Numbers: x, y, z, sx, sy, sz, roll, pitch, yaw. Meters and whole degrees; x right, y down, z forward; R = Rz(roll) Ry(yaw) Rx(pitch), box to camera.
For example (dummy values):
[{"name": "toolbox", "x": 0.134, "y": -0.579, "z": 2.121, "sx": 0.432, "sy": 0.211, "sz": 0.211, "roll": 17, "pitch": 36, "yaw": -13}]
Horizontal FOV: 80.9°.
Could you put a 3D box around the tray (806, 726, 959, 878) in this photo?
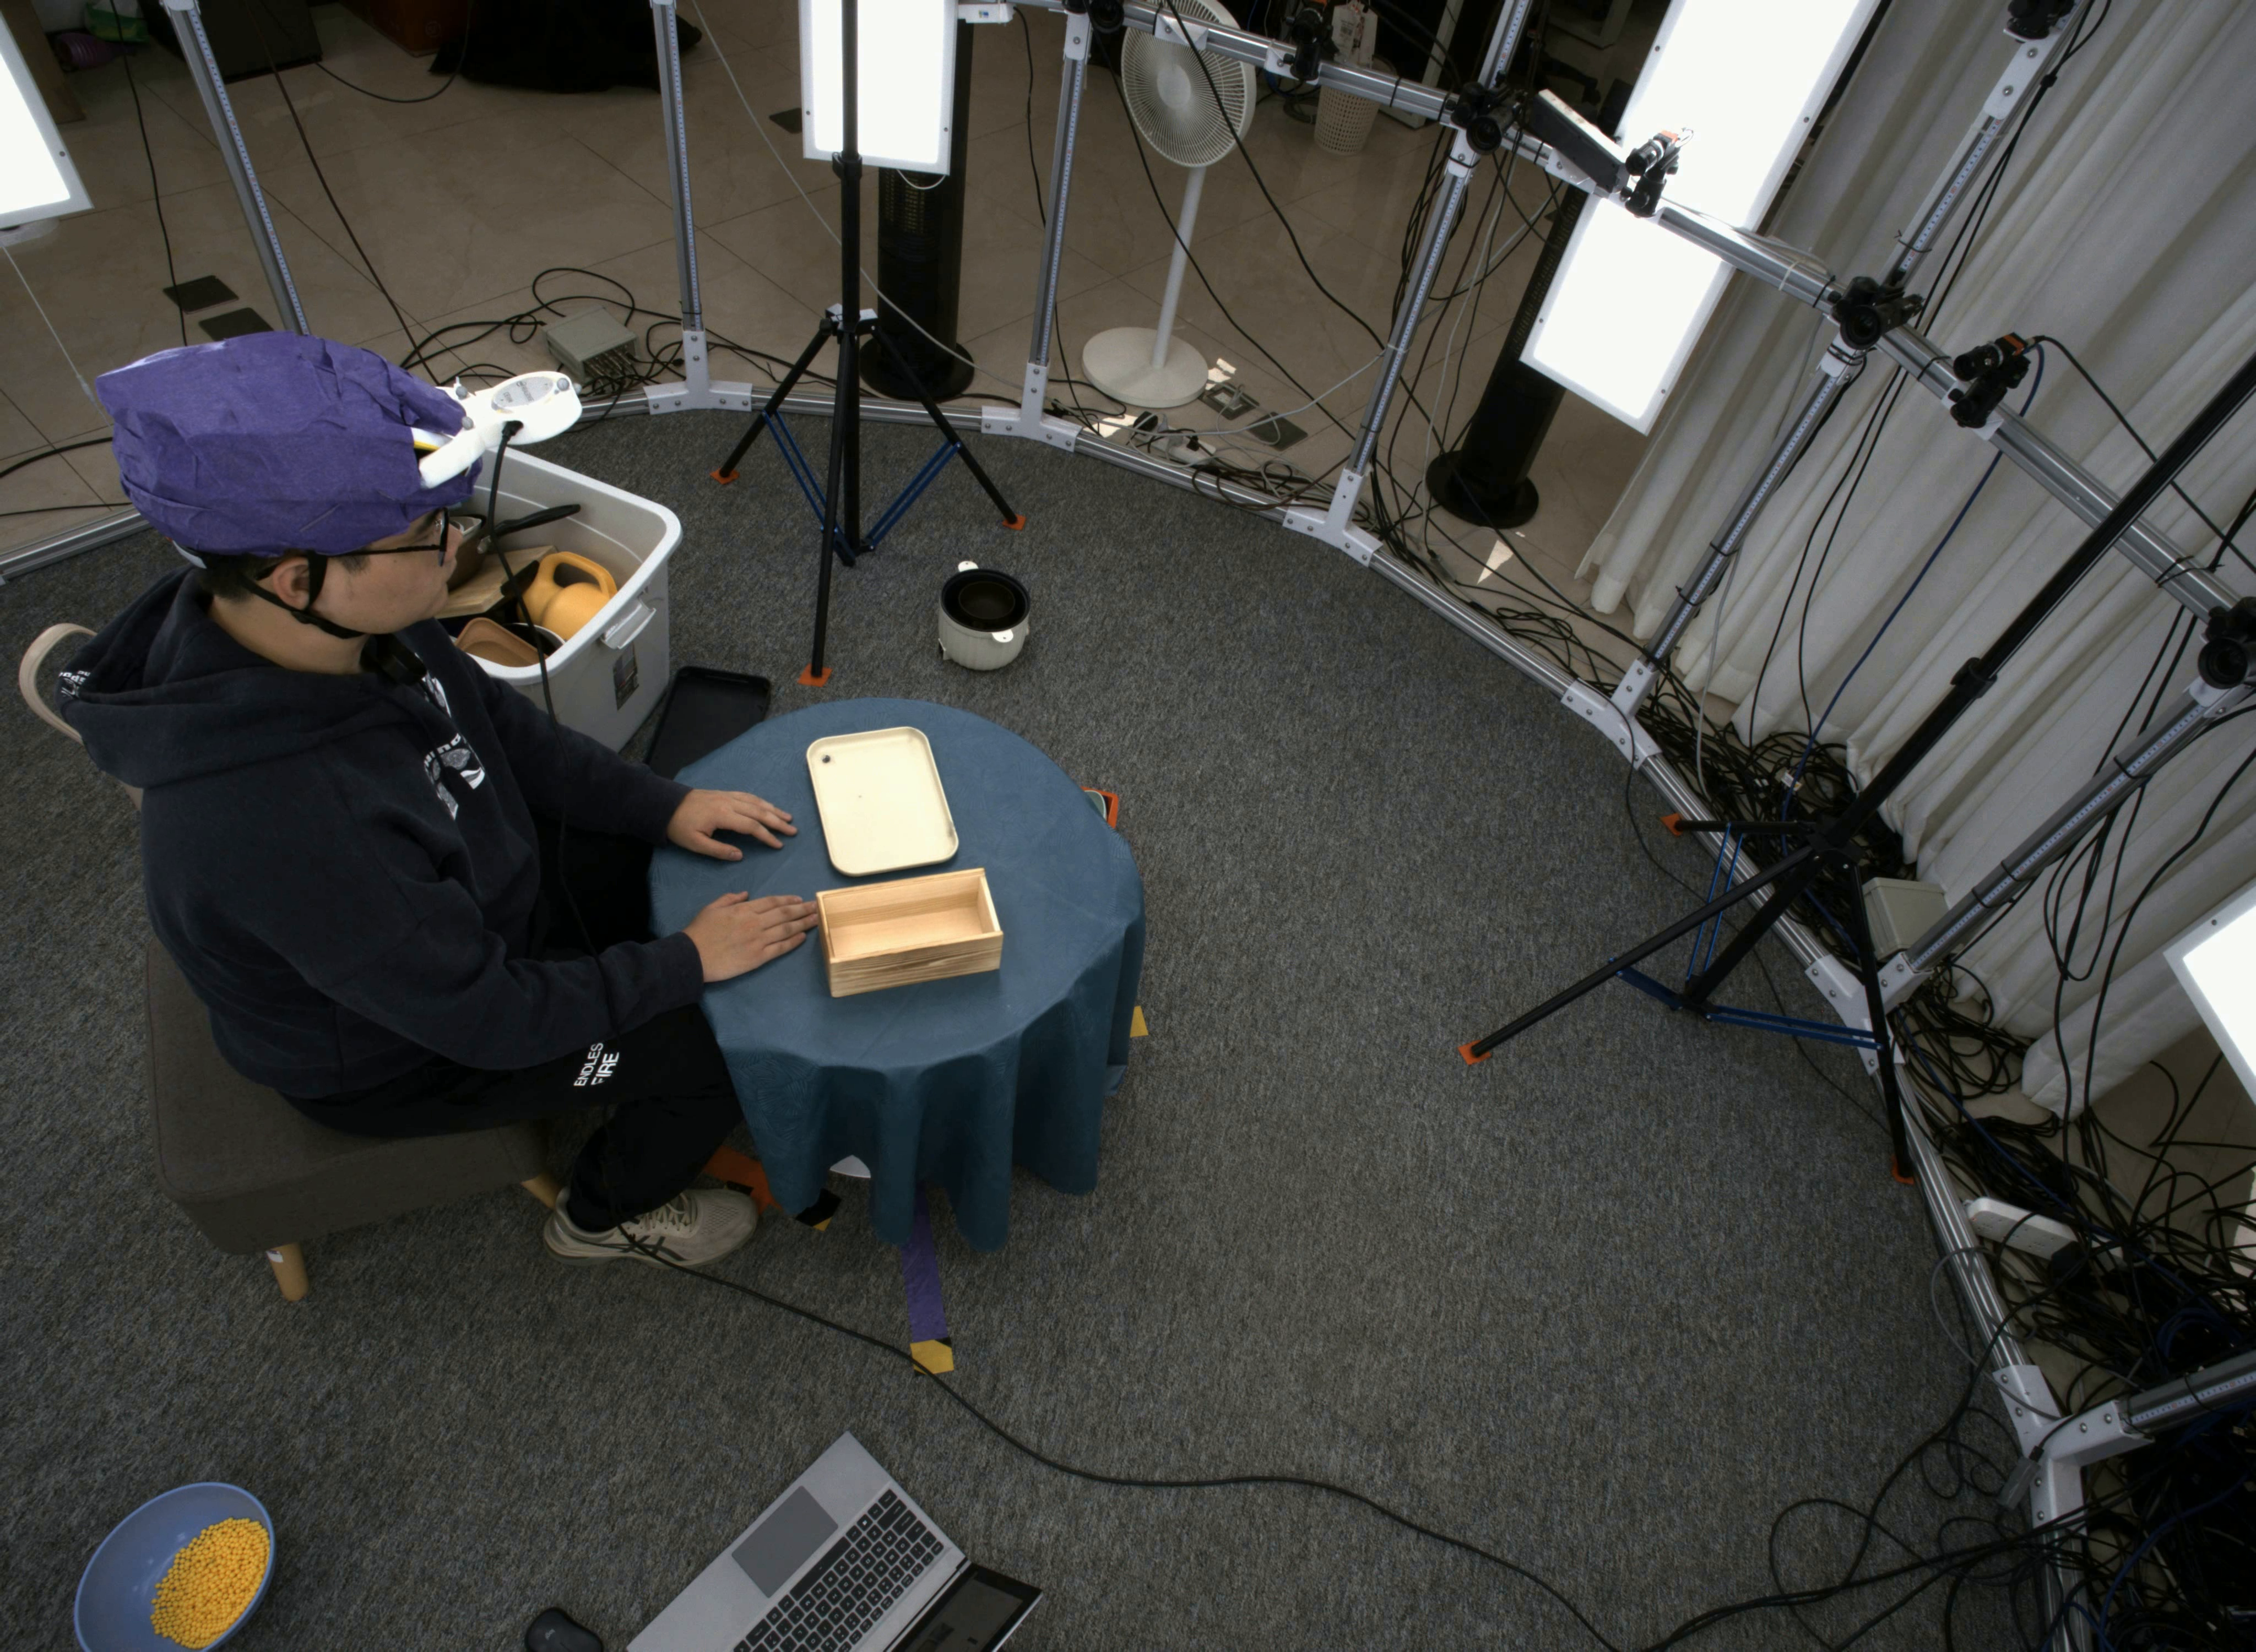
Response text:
[{"name": "tray", "x": -0.334, "y": -0.035, "z": 1.758, "sx": 0.172, "sy": 0.018, "sz": 0.234, "roll": -10, "pitch": 57, "yaw": -20}]

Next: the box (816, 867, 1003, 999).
[{"name": "box", "x": -0.270, "y": 0.129, "z": 1.611, "sx": 0.212, "sy": 0.082, "sz": 0.105, "roll": -9, "pitch": 55, "yaw": -19}]
